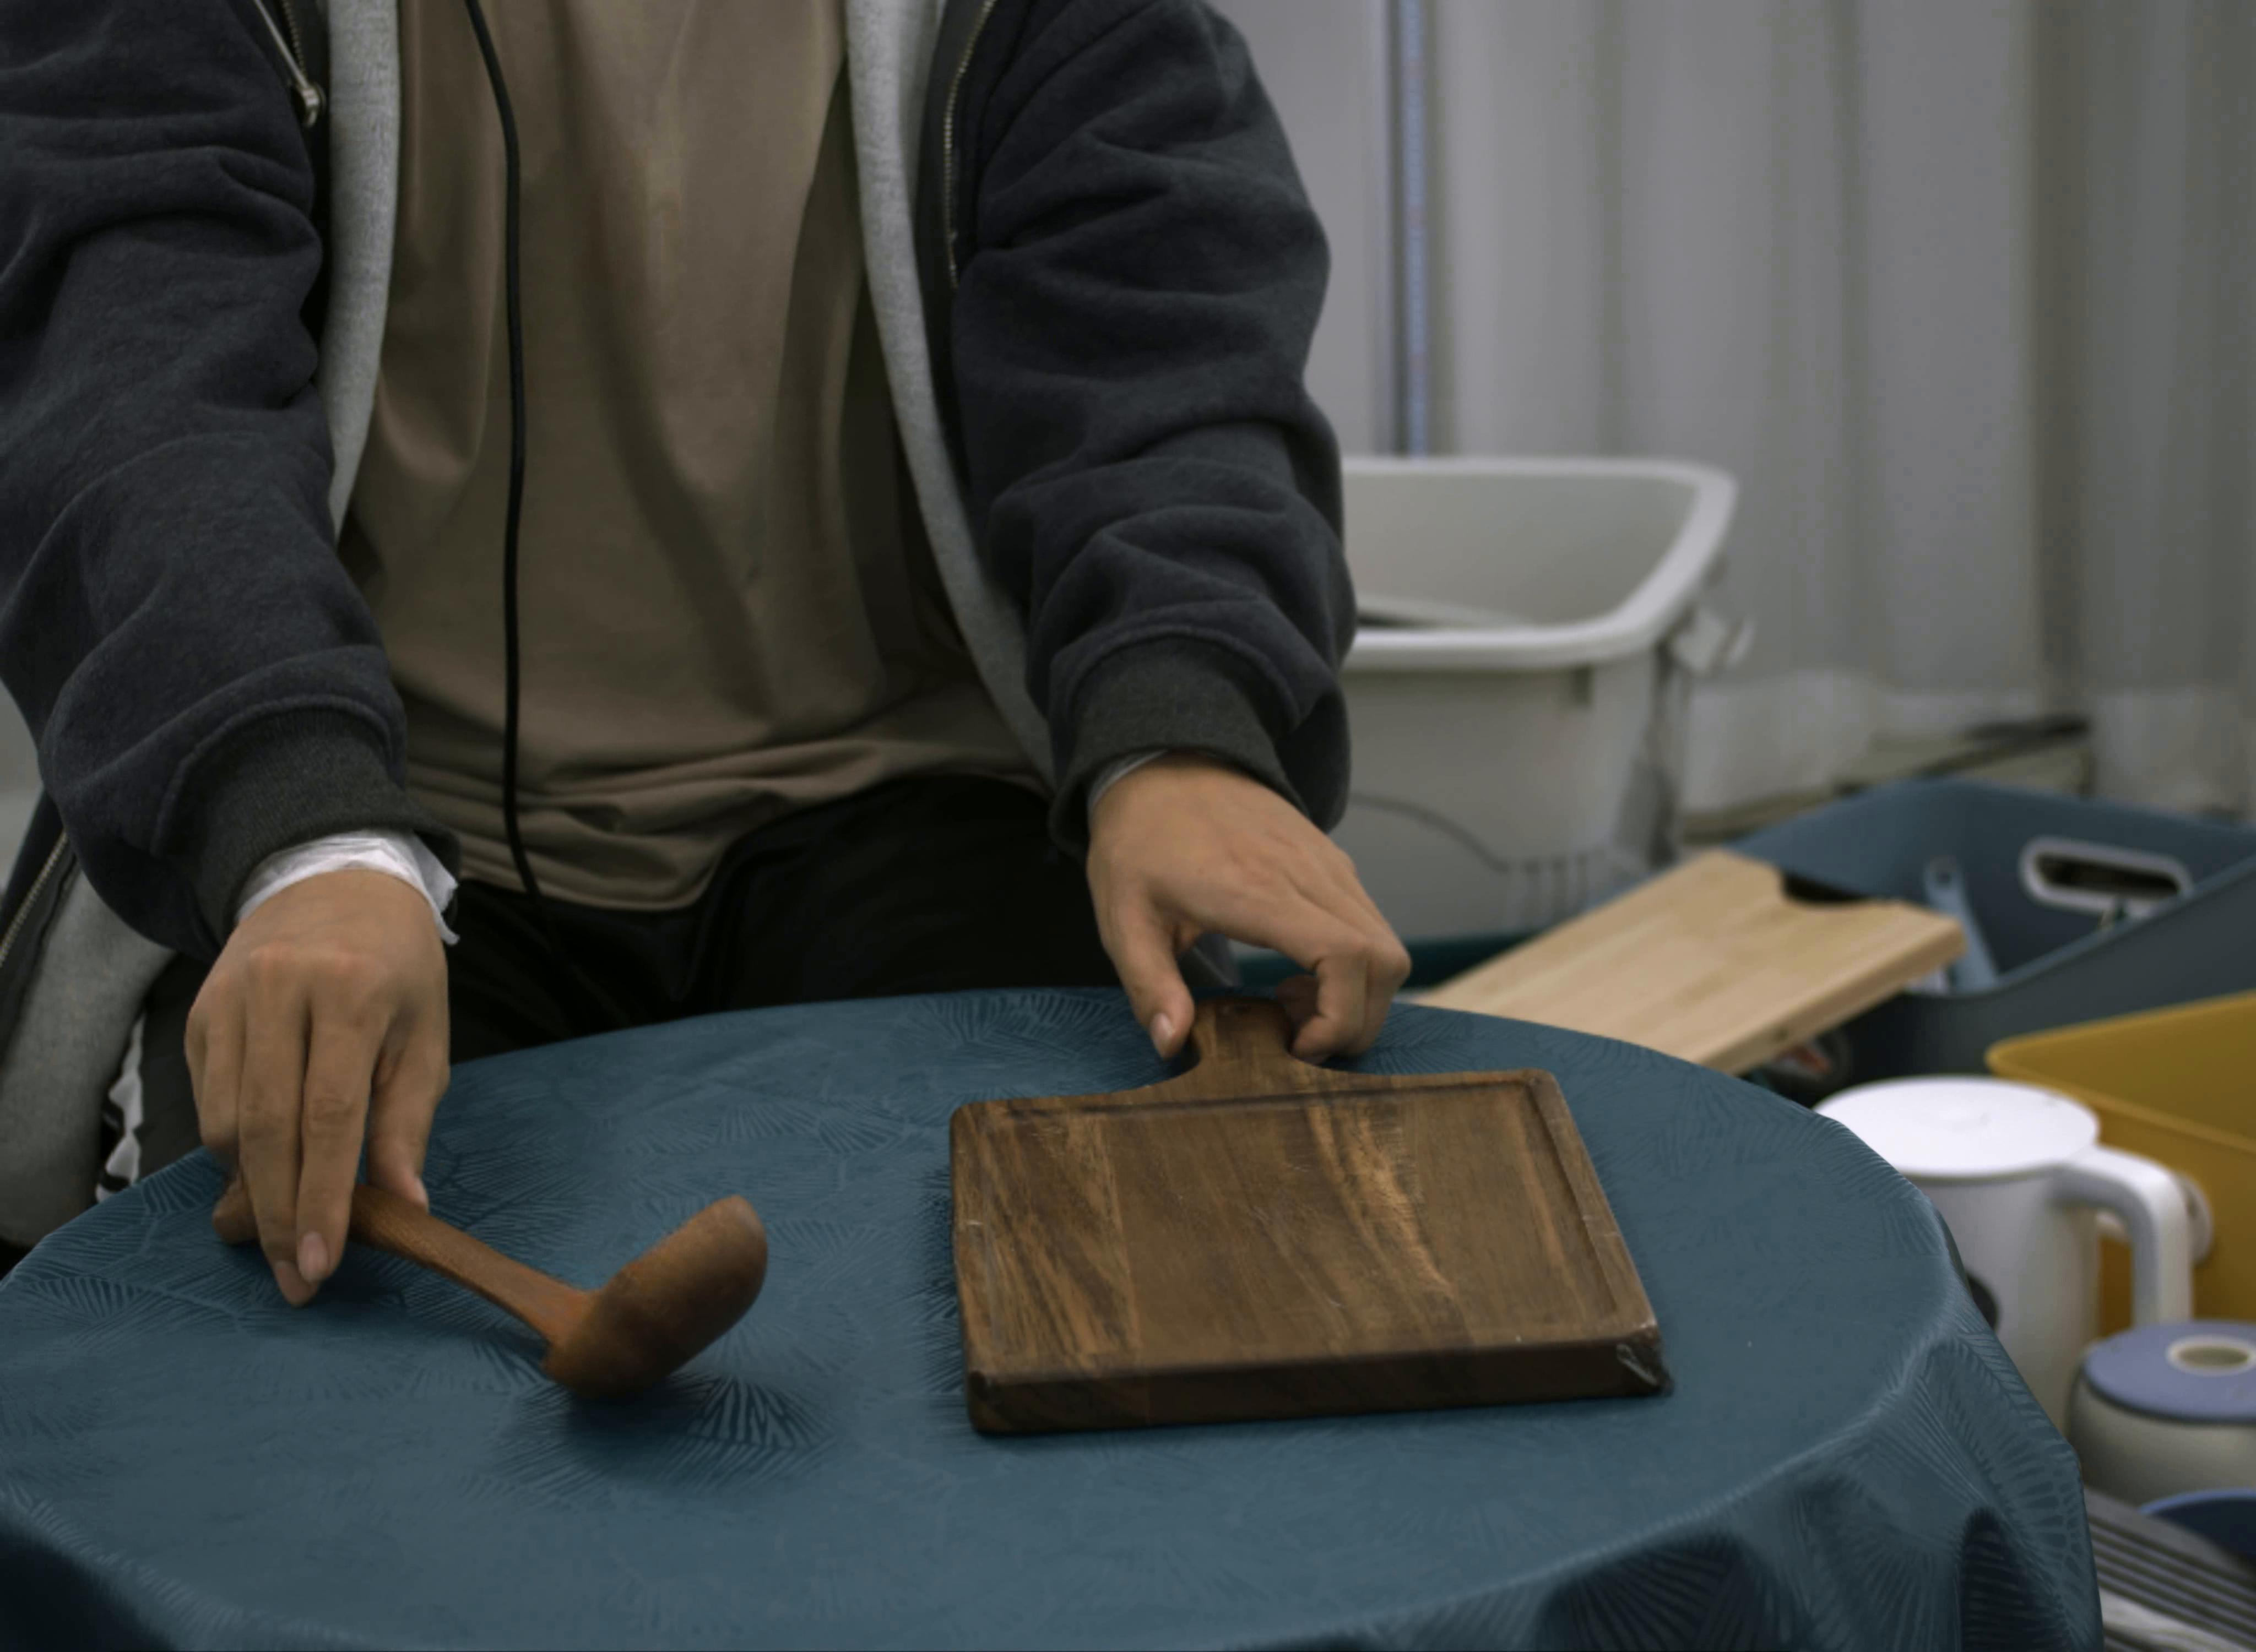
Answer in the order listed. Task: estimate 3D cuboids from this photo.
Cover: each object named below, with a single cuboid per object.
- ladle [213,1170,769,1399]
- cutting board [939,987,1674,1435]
[{"bbox_3d":[-0.199,0.118,1.617,0.076,0.064,0.262,-26,26,-35],"label":"ladle"},{"bbox_3d":[0.043,0.110,1.681,0.200,0.023,0.355,-2,15,-3],"label":"cutting board"}]
